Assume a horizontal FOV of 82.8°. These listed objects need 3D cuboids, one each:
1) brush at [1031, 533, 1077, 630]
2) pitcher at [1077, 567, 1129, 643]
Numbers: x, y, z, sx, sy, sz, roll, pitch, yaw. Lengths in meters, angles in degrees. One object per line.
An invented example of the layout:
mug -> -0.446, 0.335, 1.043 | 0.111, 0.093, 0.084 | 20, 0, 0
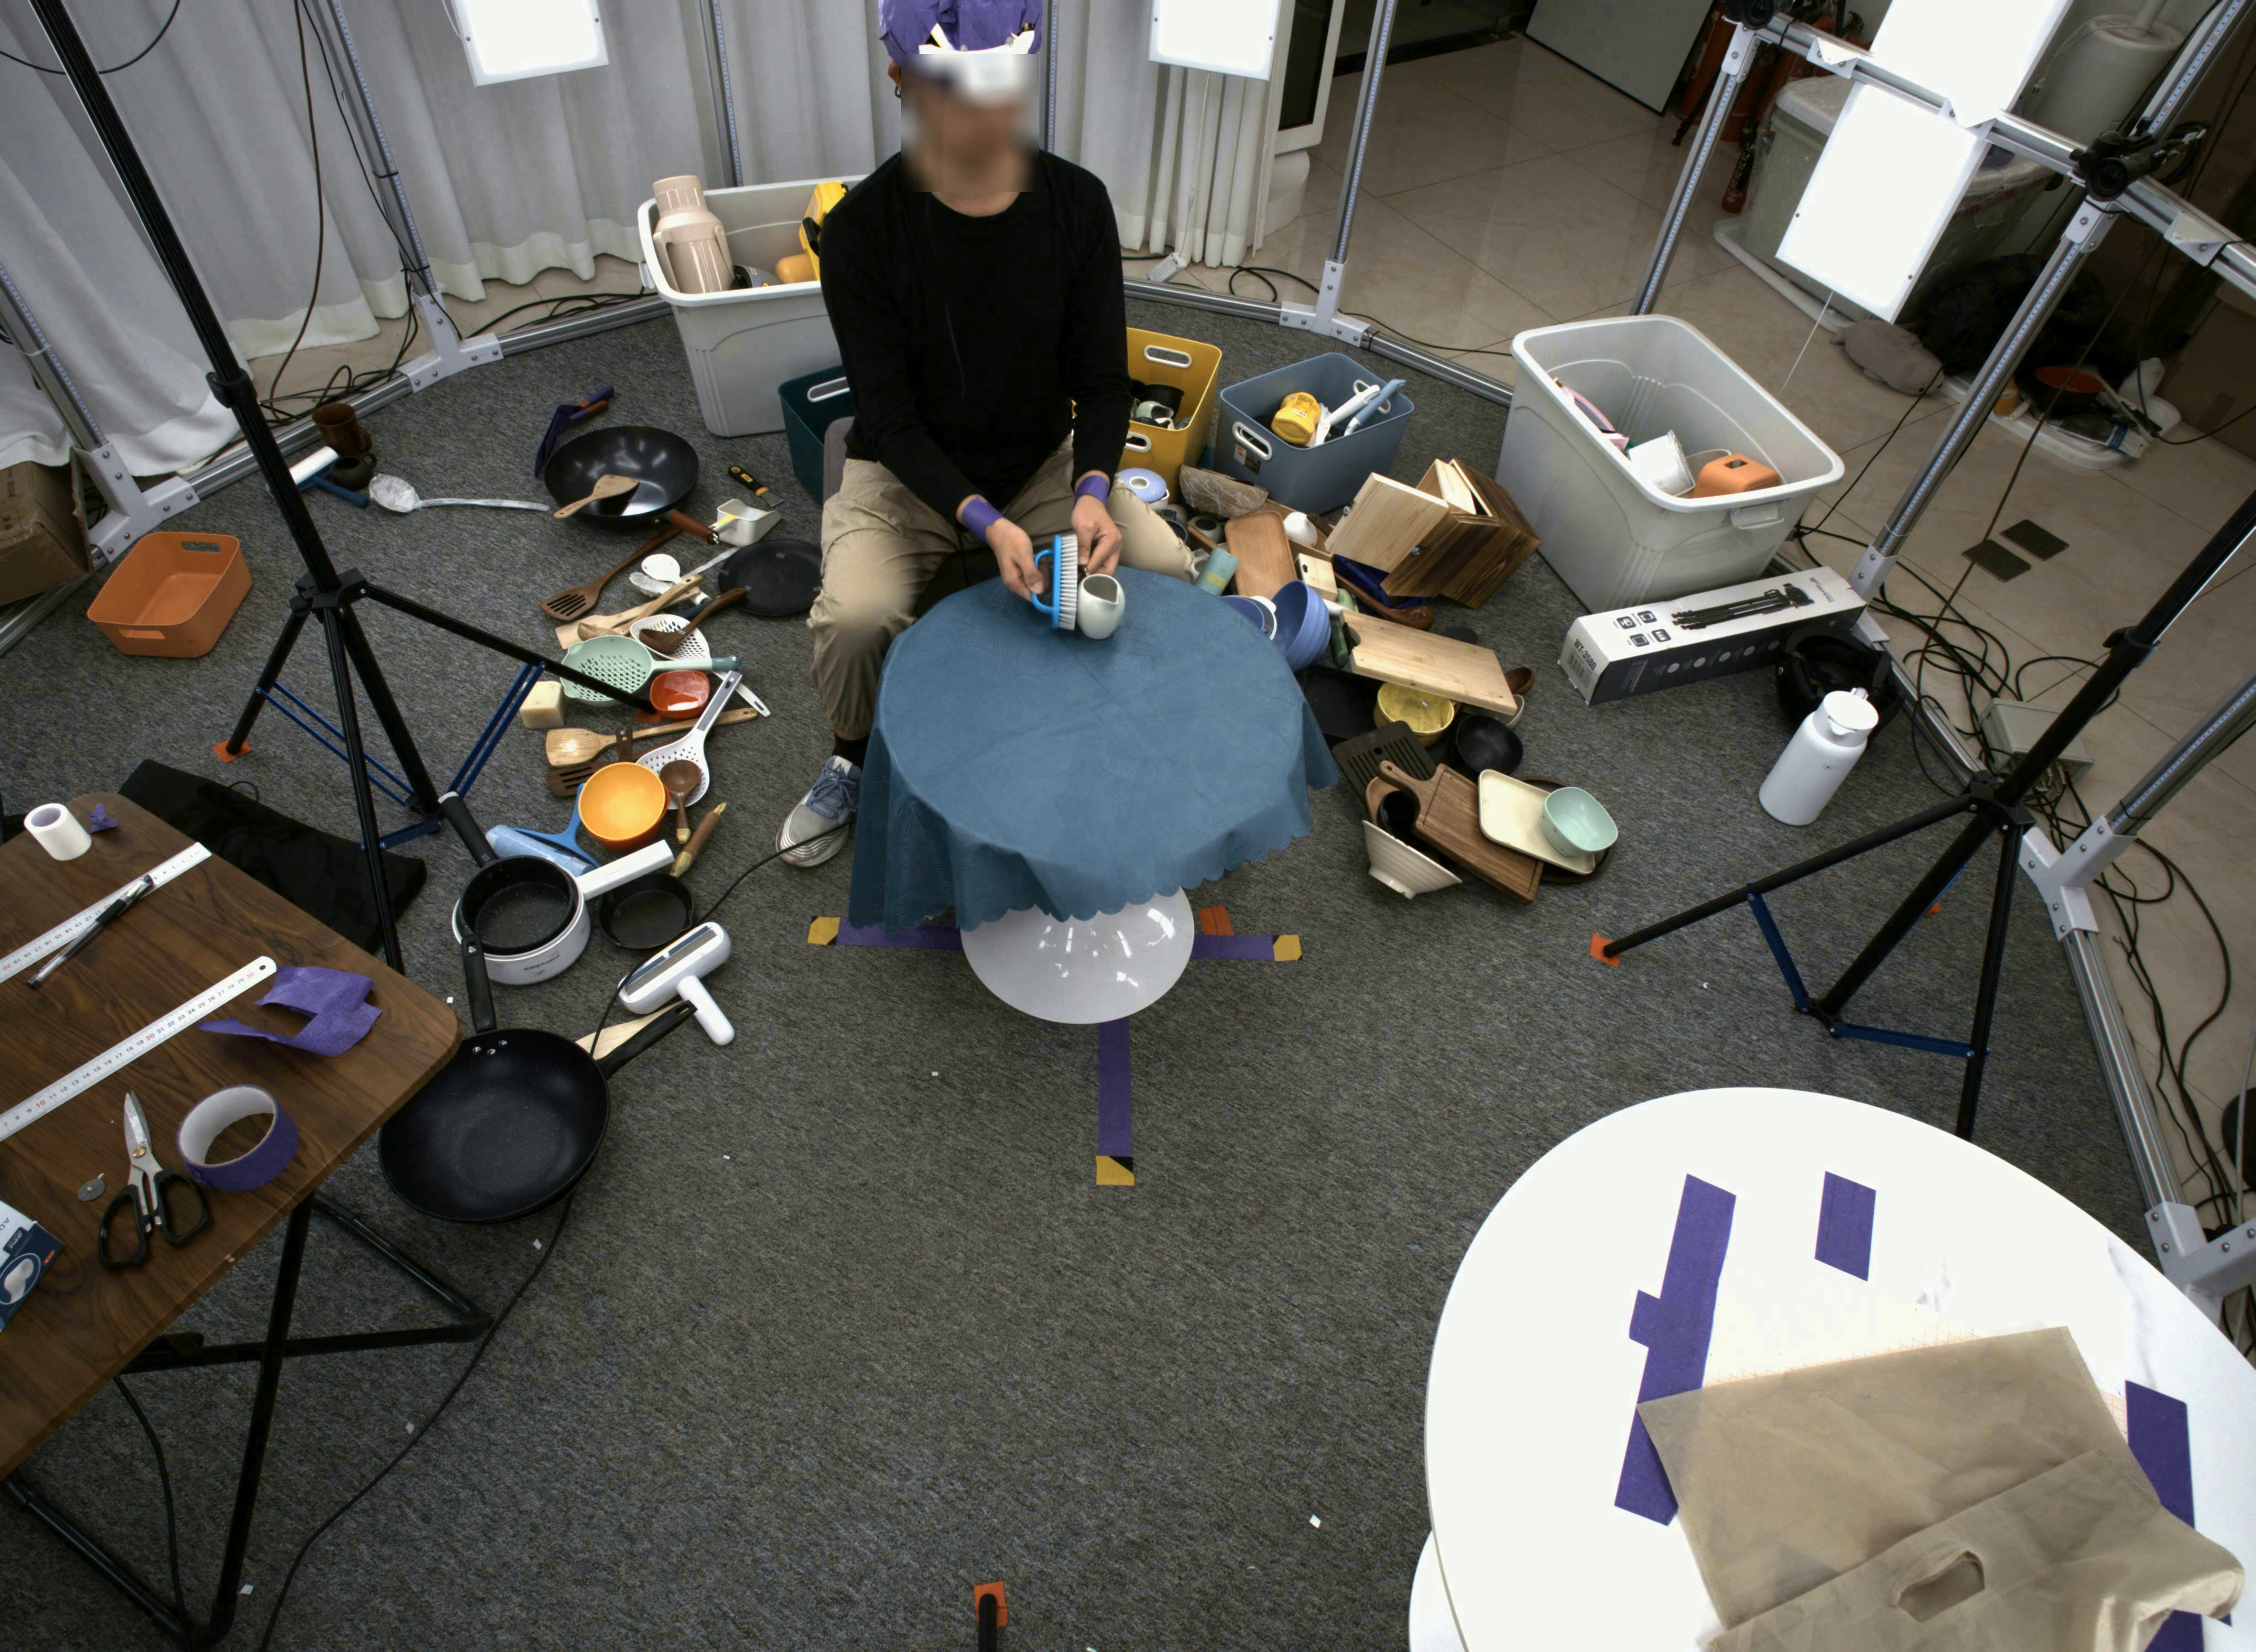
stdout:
brush -> -0.108, -0.357, 1.882 | 0.064, 0.084, 0.142 | 3, 86, -2
pitcher -> -0.041, -0.321, 1.886 | 0.076, 0.086, 0.122 | -13, 55, -23
